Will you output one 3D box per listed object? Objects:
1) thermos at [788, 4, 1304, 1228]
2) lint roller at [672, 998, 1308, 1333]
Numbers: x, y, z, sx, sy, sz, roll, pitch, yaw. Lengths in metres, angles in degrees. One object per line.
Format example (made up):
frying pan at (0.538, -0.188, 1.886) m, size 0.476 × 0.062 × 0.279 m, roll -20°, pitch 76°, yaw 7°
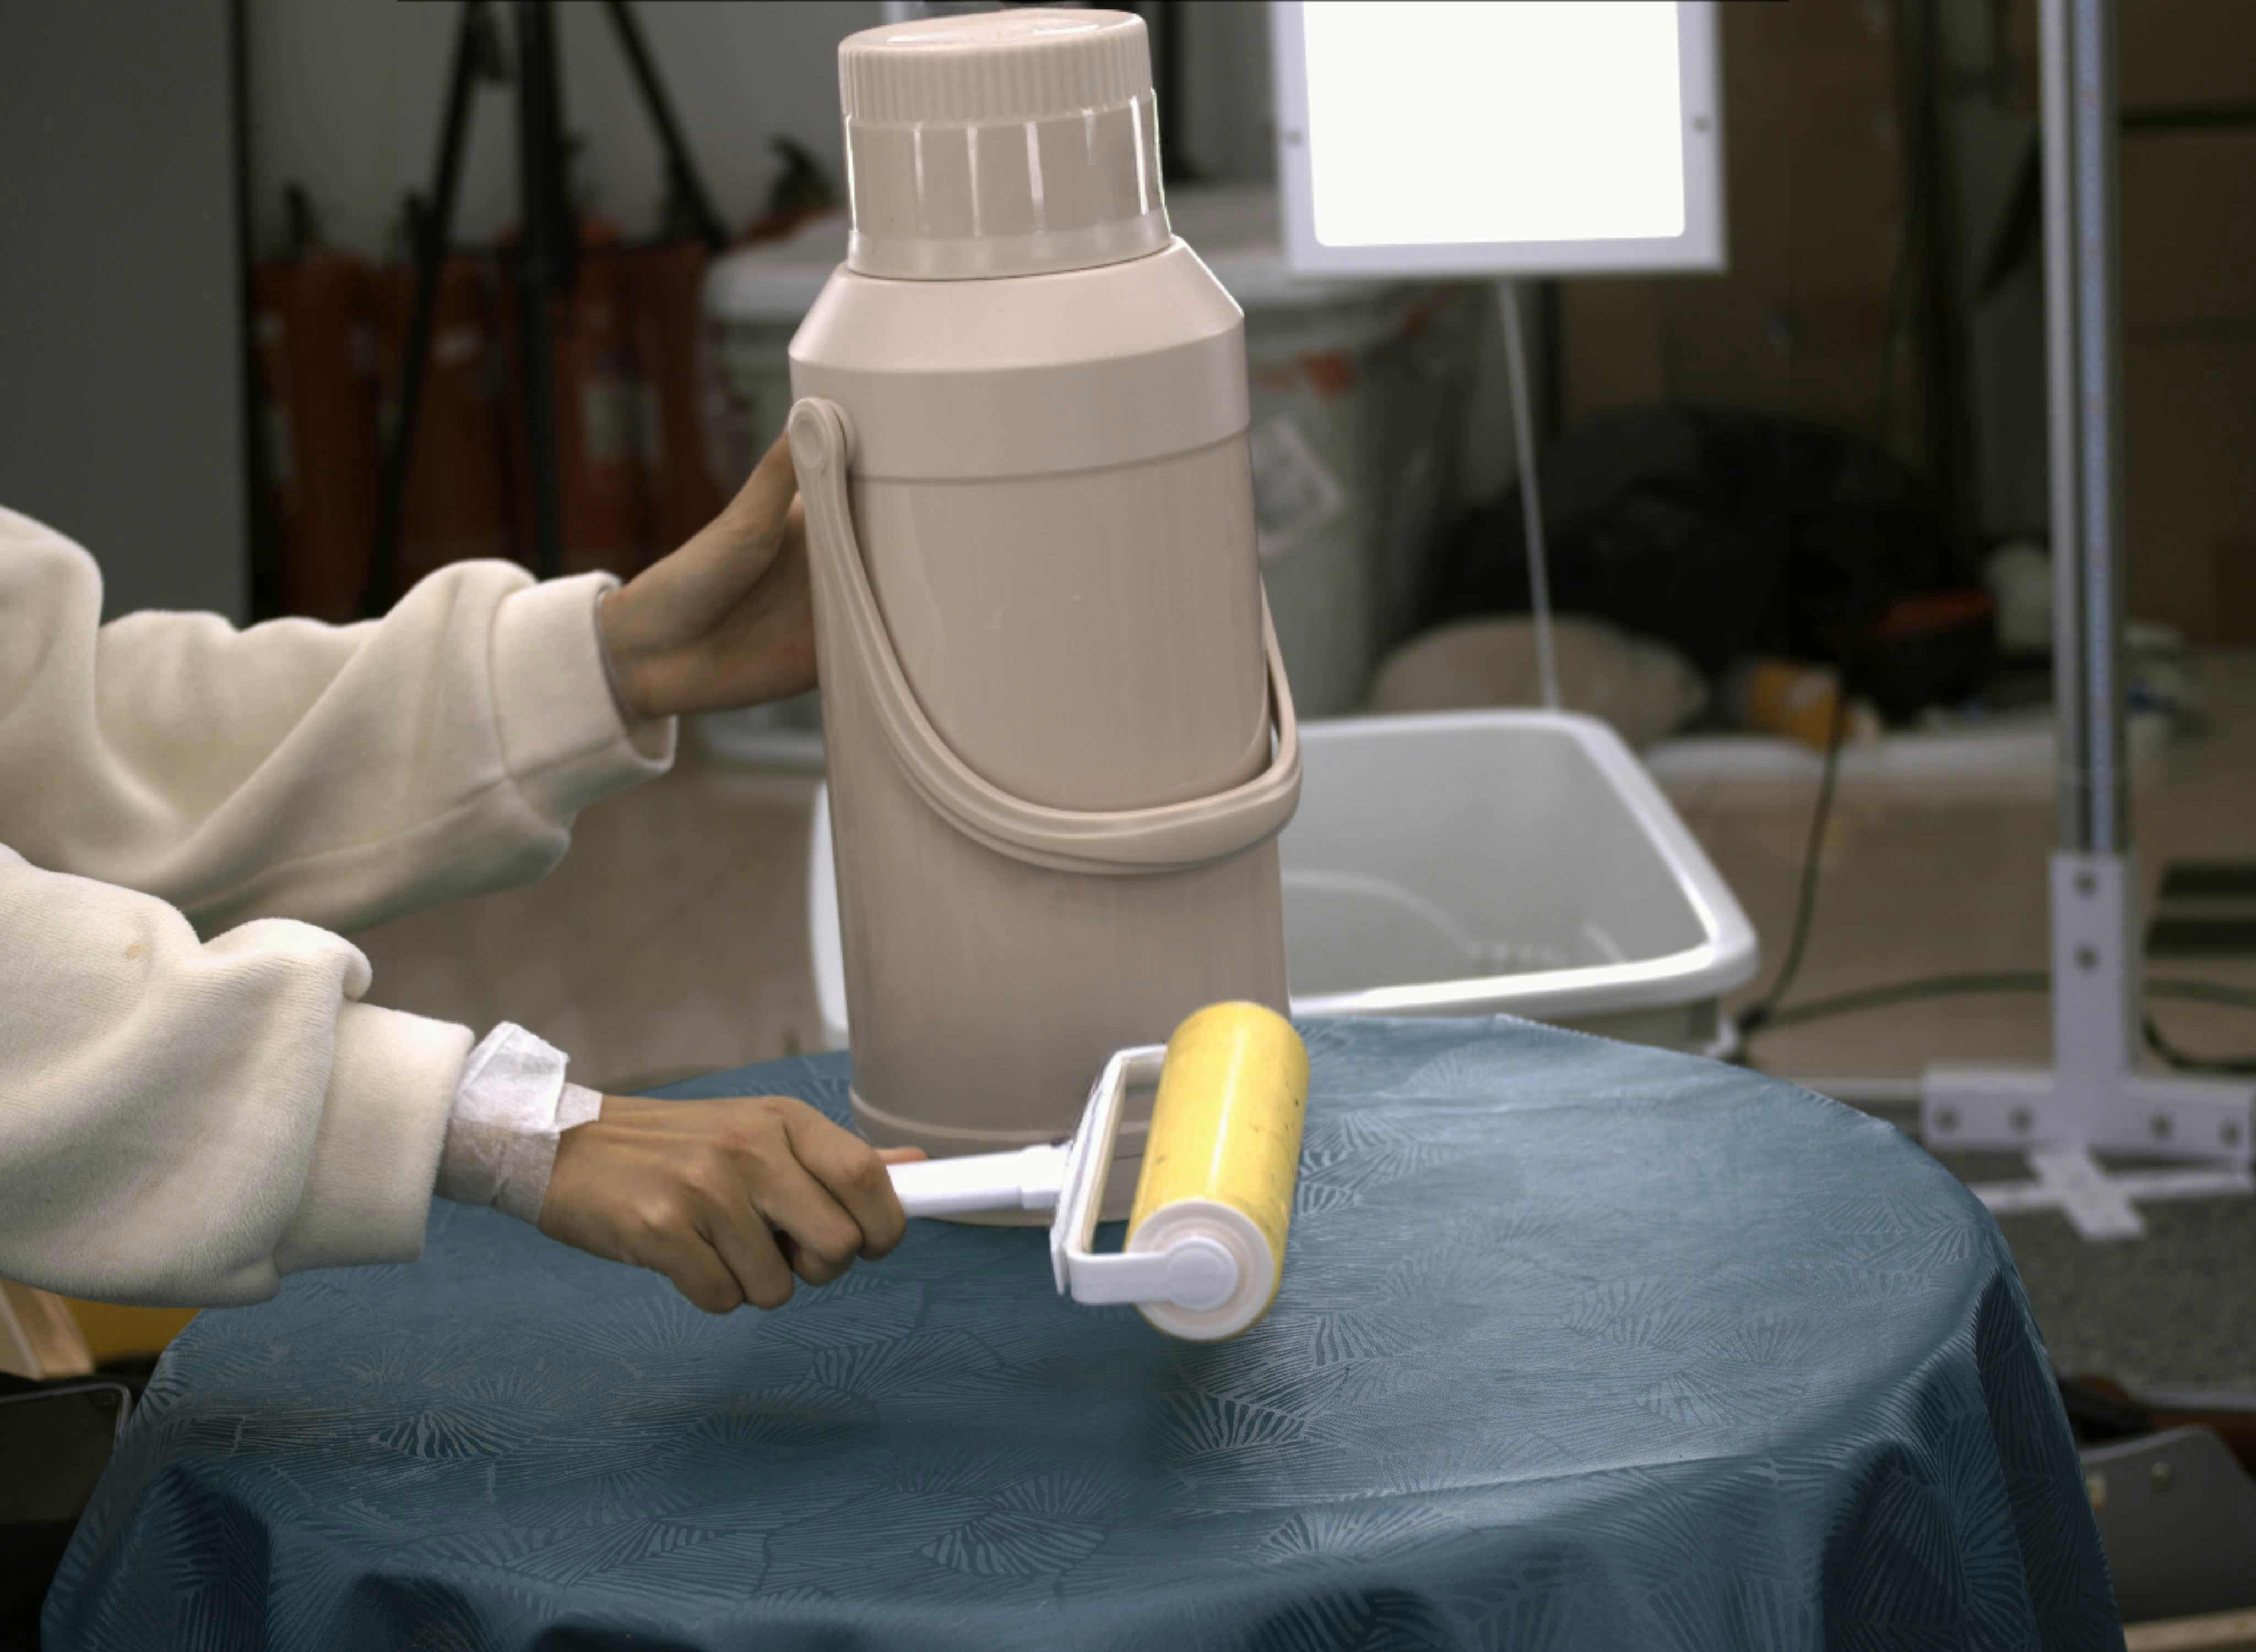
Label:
thermos at (-0.038, -0.076, 1.905) m, size 0.171 × 0.408 × 0.211 m, roll -14°, pitch 17°, yaw -33°
lint roller at (-0.043, 0.098, 1.677) m, size 0.192 × 0.052 × 0.173 m, roll 4°, pitch 19°, yaw 4°
